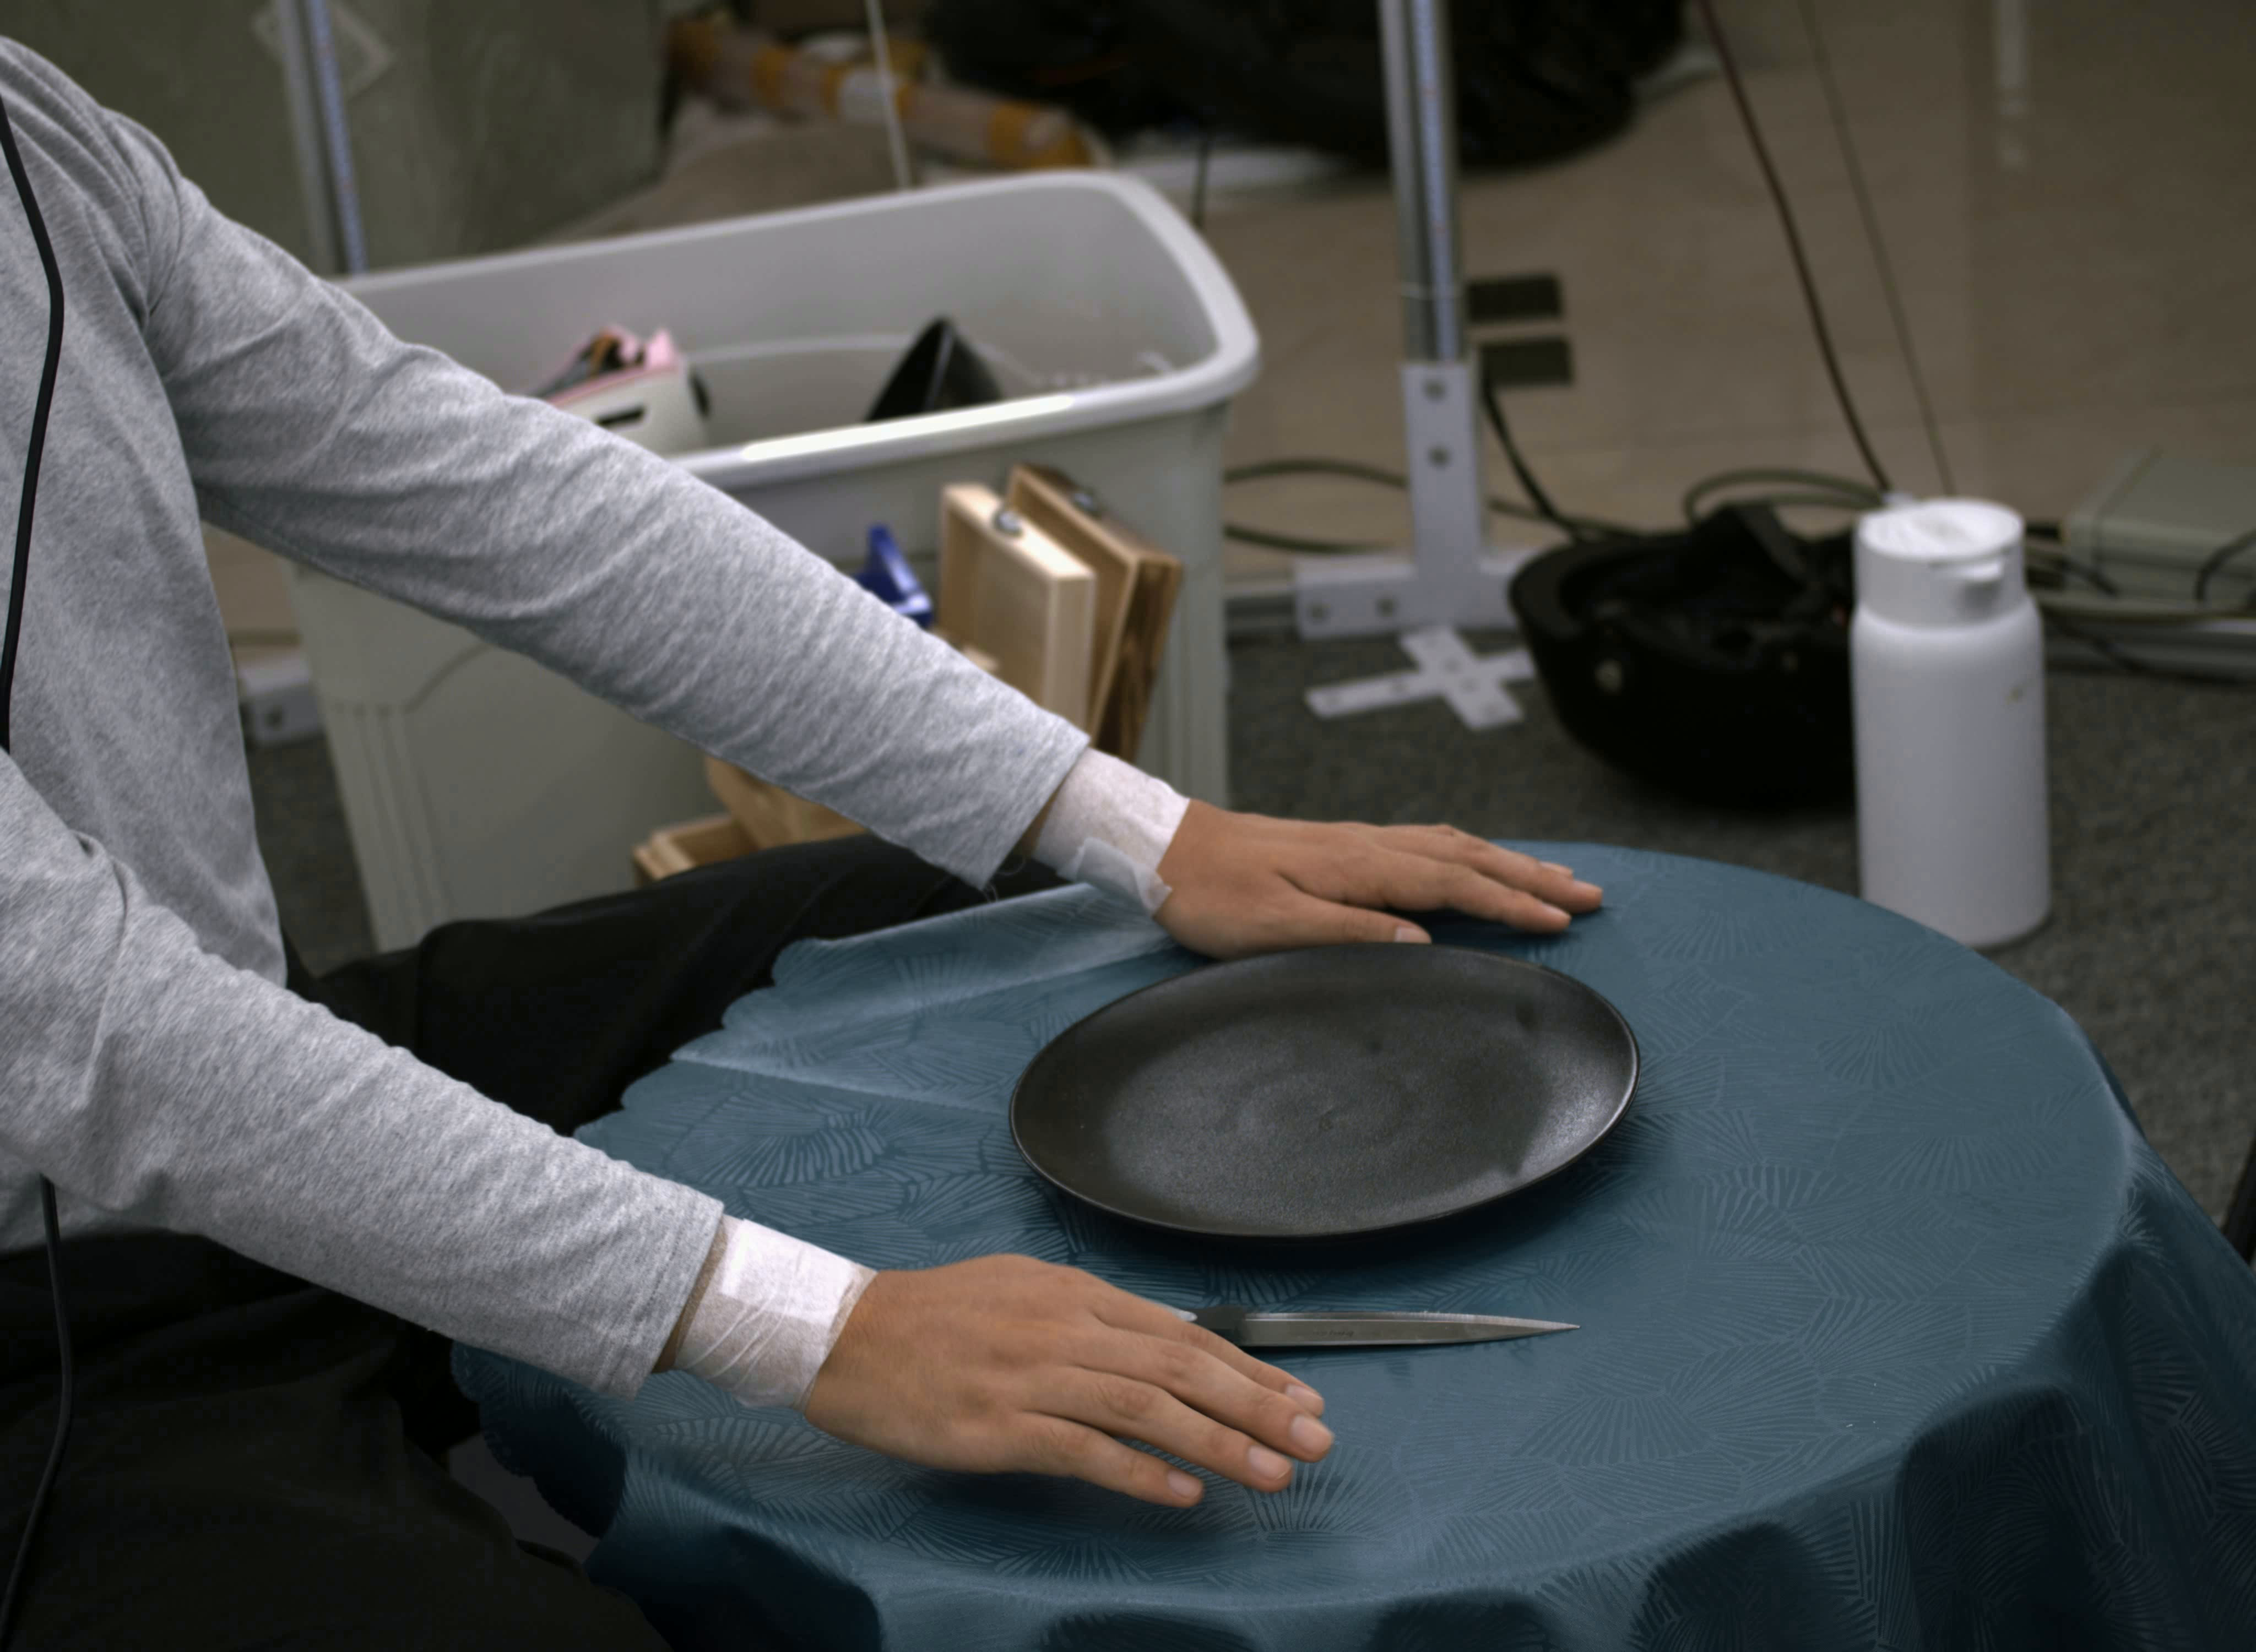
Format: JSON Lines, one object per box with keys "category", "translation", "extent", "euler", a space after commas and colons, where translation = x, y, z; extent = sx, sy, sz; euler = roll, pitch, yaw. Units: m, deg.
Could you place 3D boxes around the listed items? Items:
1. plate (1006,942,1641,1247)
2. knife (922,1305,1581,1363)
{"category": "plate", "translation": [0.075, 0.108, 2.174], "extent": [0.244, 0.024, 0.241], "euler": [-5, 25, 3]}
{"category": "knife", "translation": [0.044, 0.181, 2.036], "extent": [0.238, 0.016, 0.024], "euler": [-2, 29, 4]}
